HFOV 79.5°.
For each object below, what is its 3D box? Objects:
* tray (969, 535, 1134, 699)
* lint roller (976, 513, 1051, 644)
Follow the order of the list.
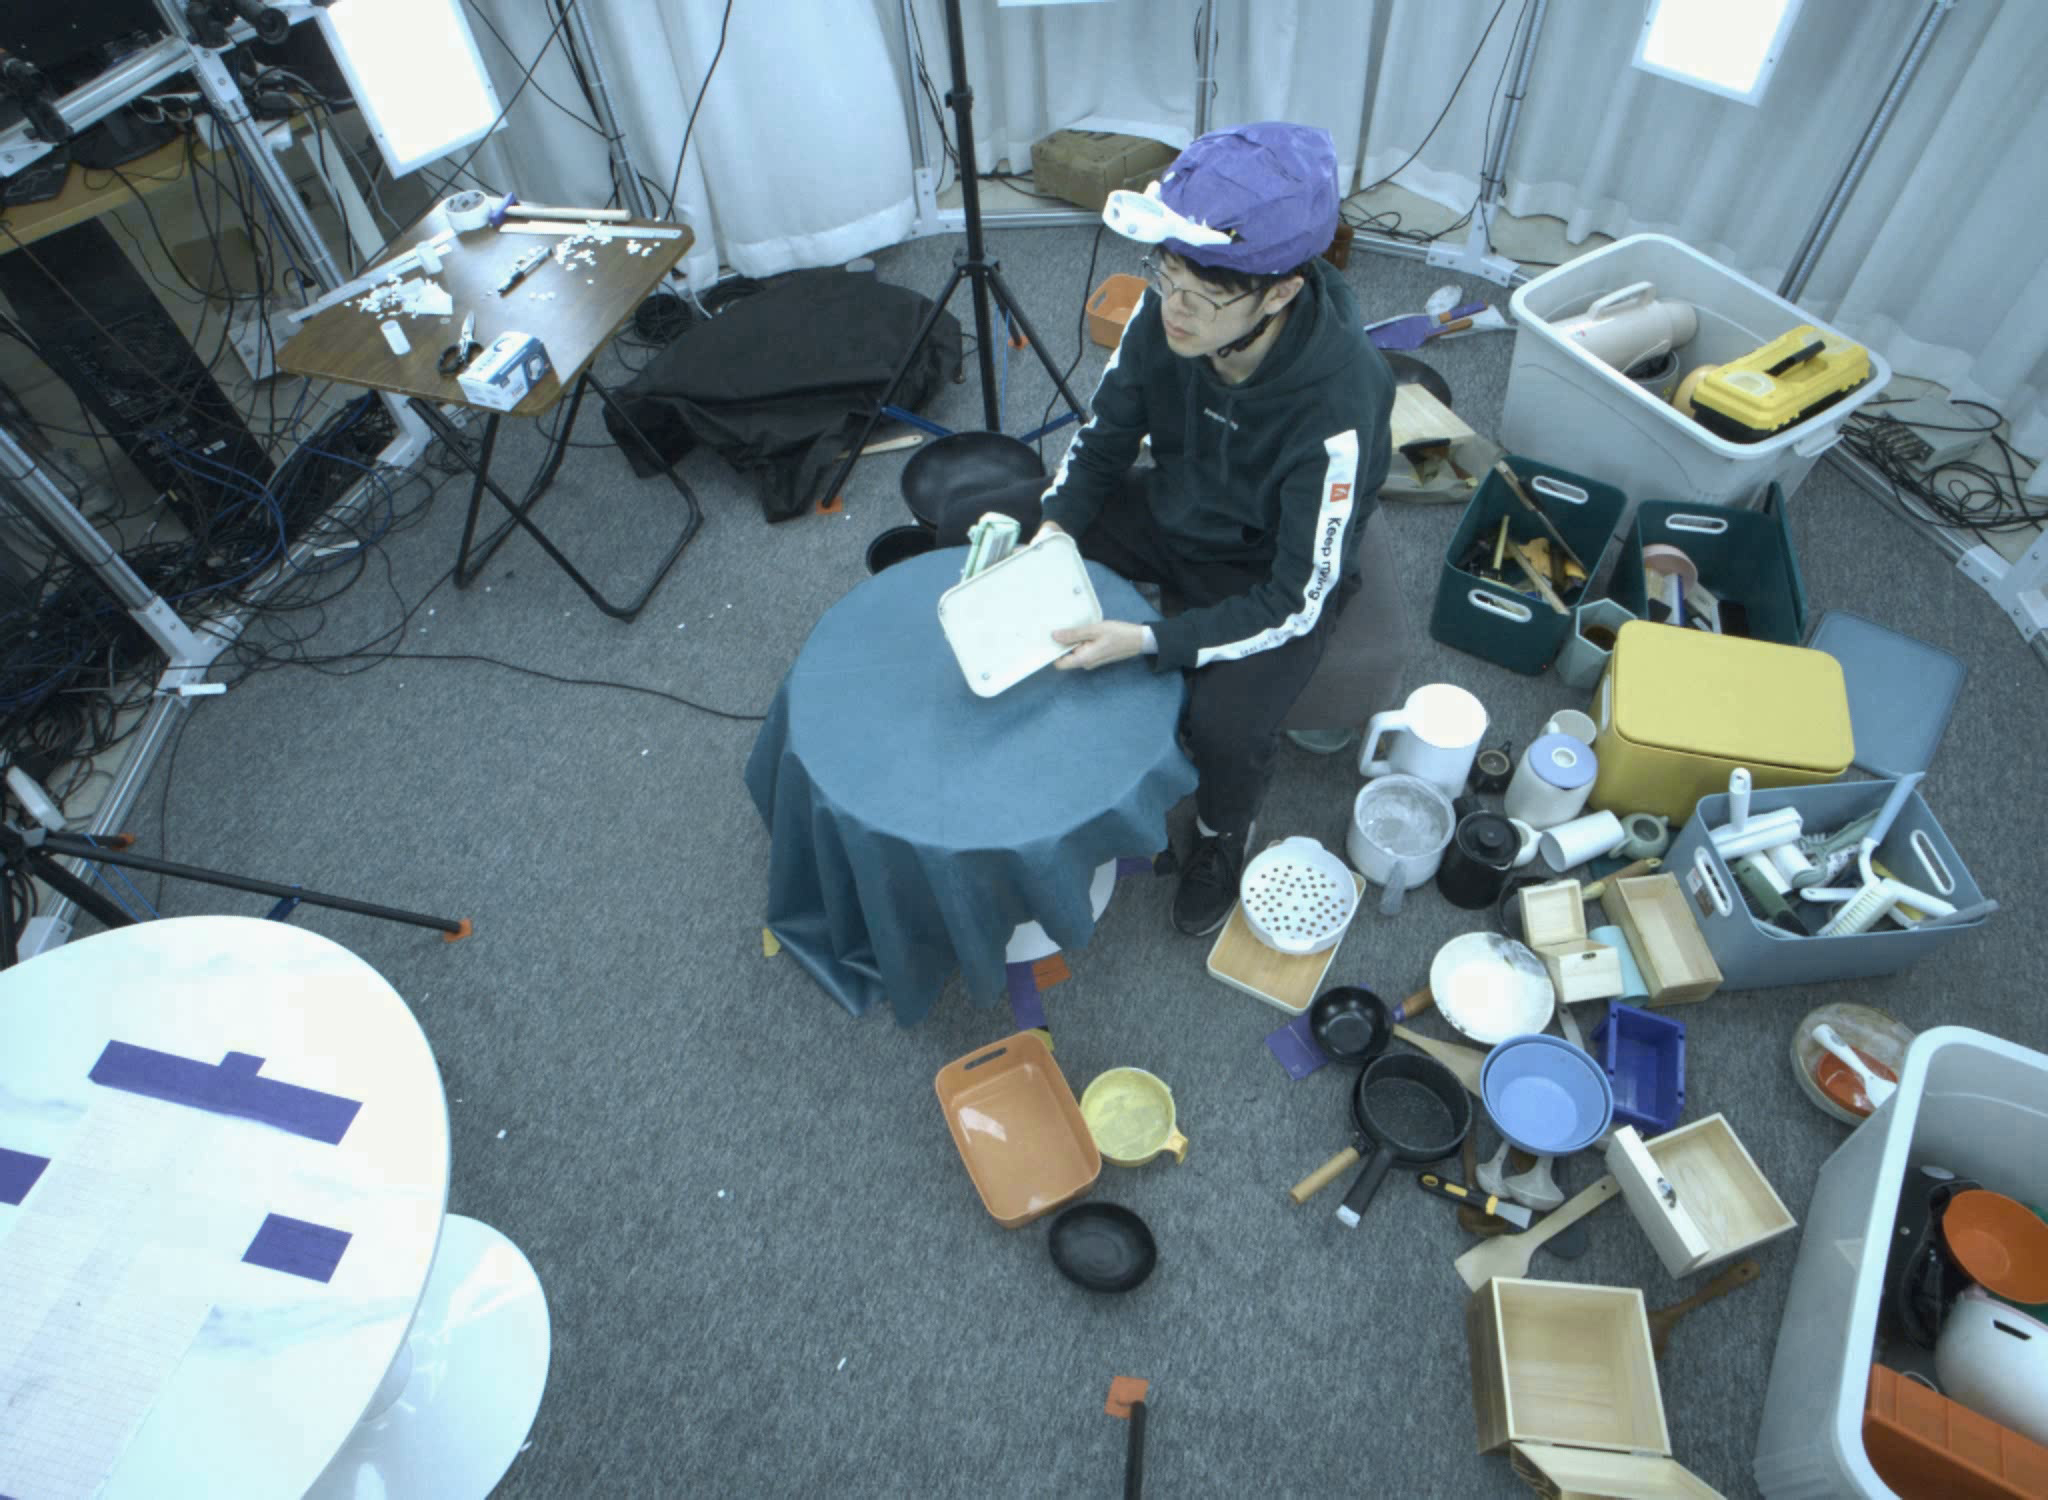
[{"bbox_3d":[0.041,-0.192,1.765,0.241,0.173,0.017,-30,27,-19],"label":"tray"},{"bbox_3d":[0.002,-0.261,1.816,0.081,0.199,0.185,28,27,19],"label":"lint roller"}]
